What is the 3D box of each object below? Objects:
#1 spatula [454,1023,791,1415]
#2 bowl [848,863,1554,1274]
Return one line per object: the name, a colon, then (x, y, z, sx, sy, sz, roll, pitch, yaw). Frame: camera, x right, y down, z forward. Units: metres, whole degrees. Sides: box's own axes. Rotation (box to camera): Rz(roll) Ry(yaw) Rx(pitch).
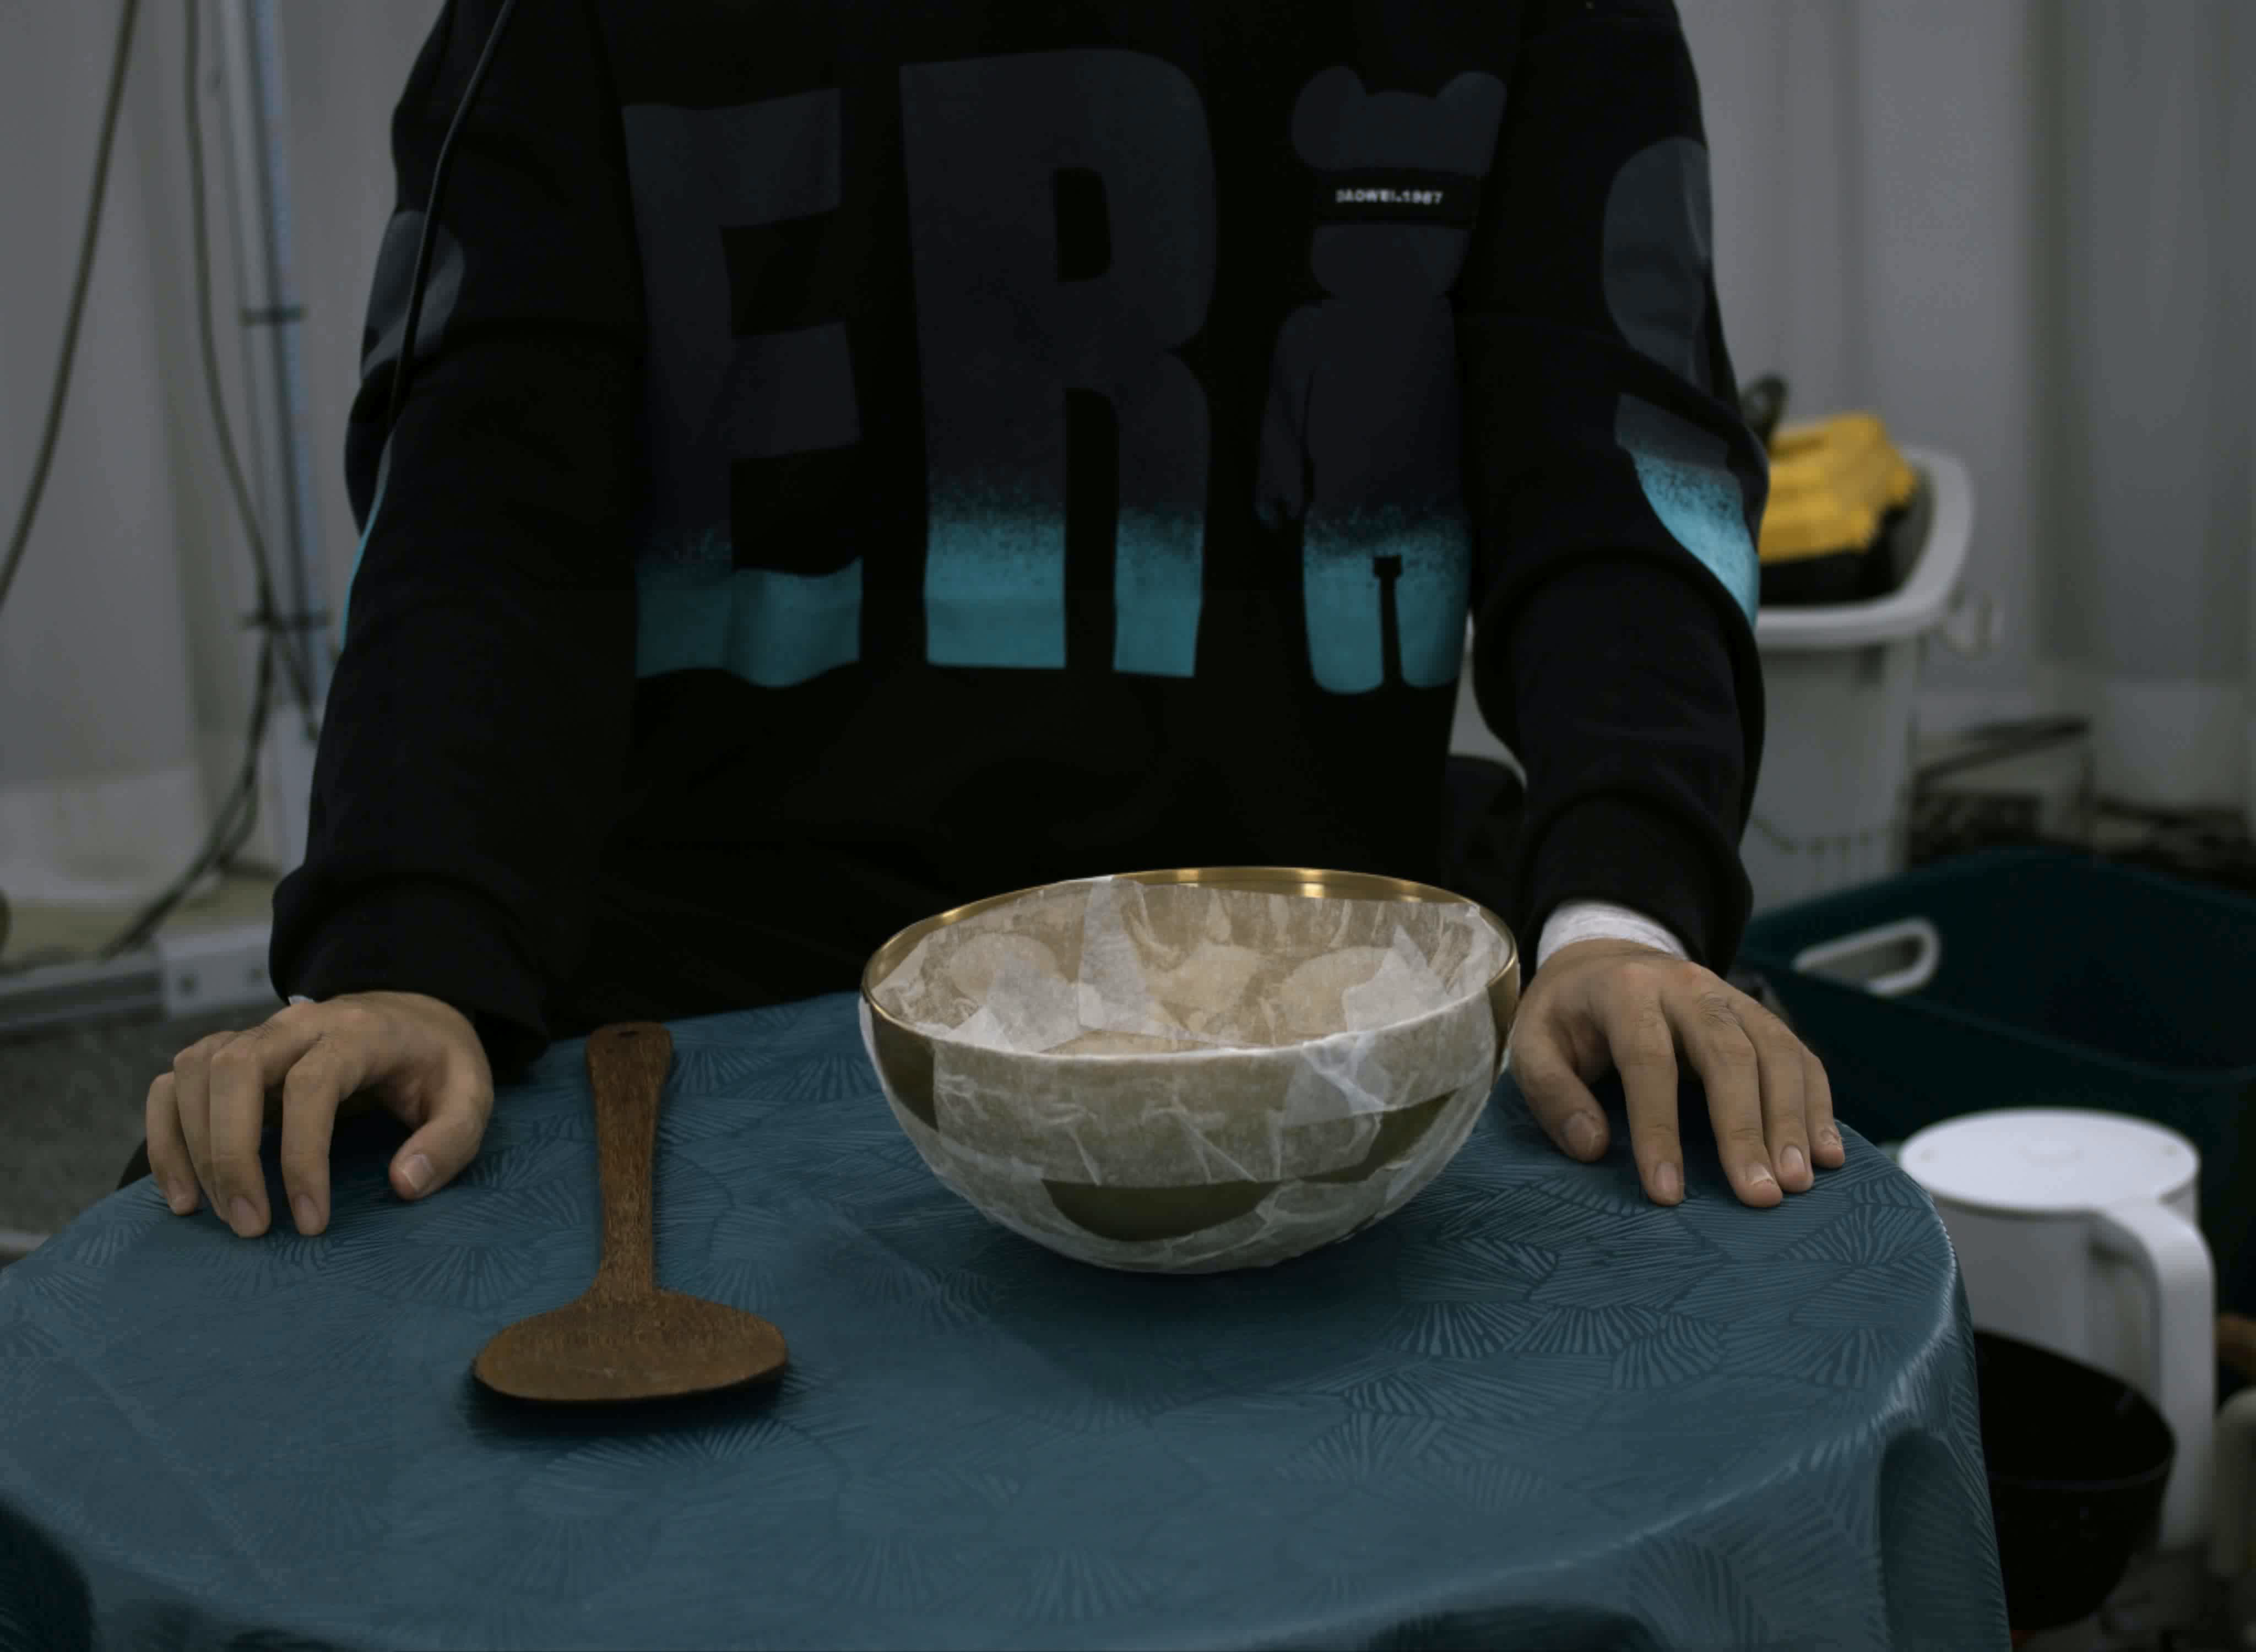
spatula: (-0.158, 0.117, 1.711, 0.096, 0.016, 0.389, -4, 15, -4)
bowl: (0.023, 0.081, 1.659, 0.214, 0.094, 0.216, -4, 13, 1)
